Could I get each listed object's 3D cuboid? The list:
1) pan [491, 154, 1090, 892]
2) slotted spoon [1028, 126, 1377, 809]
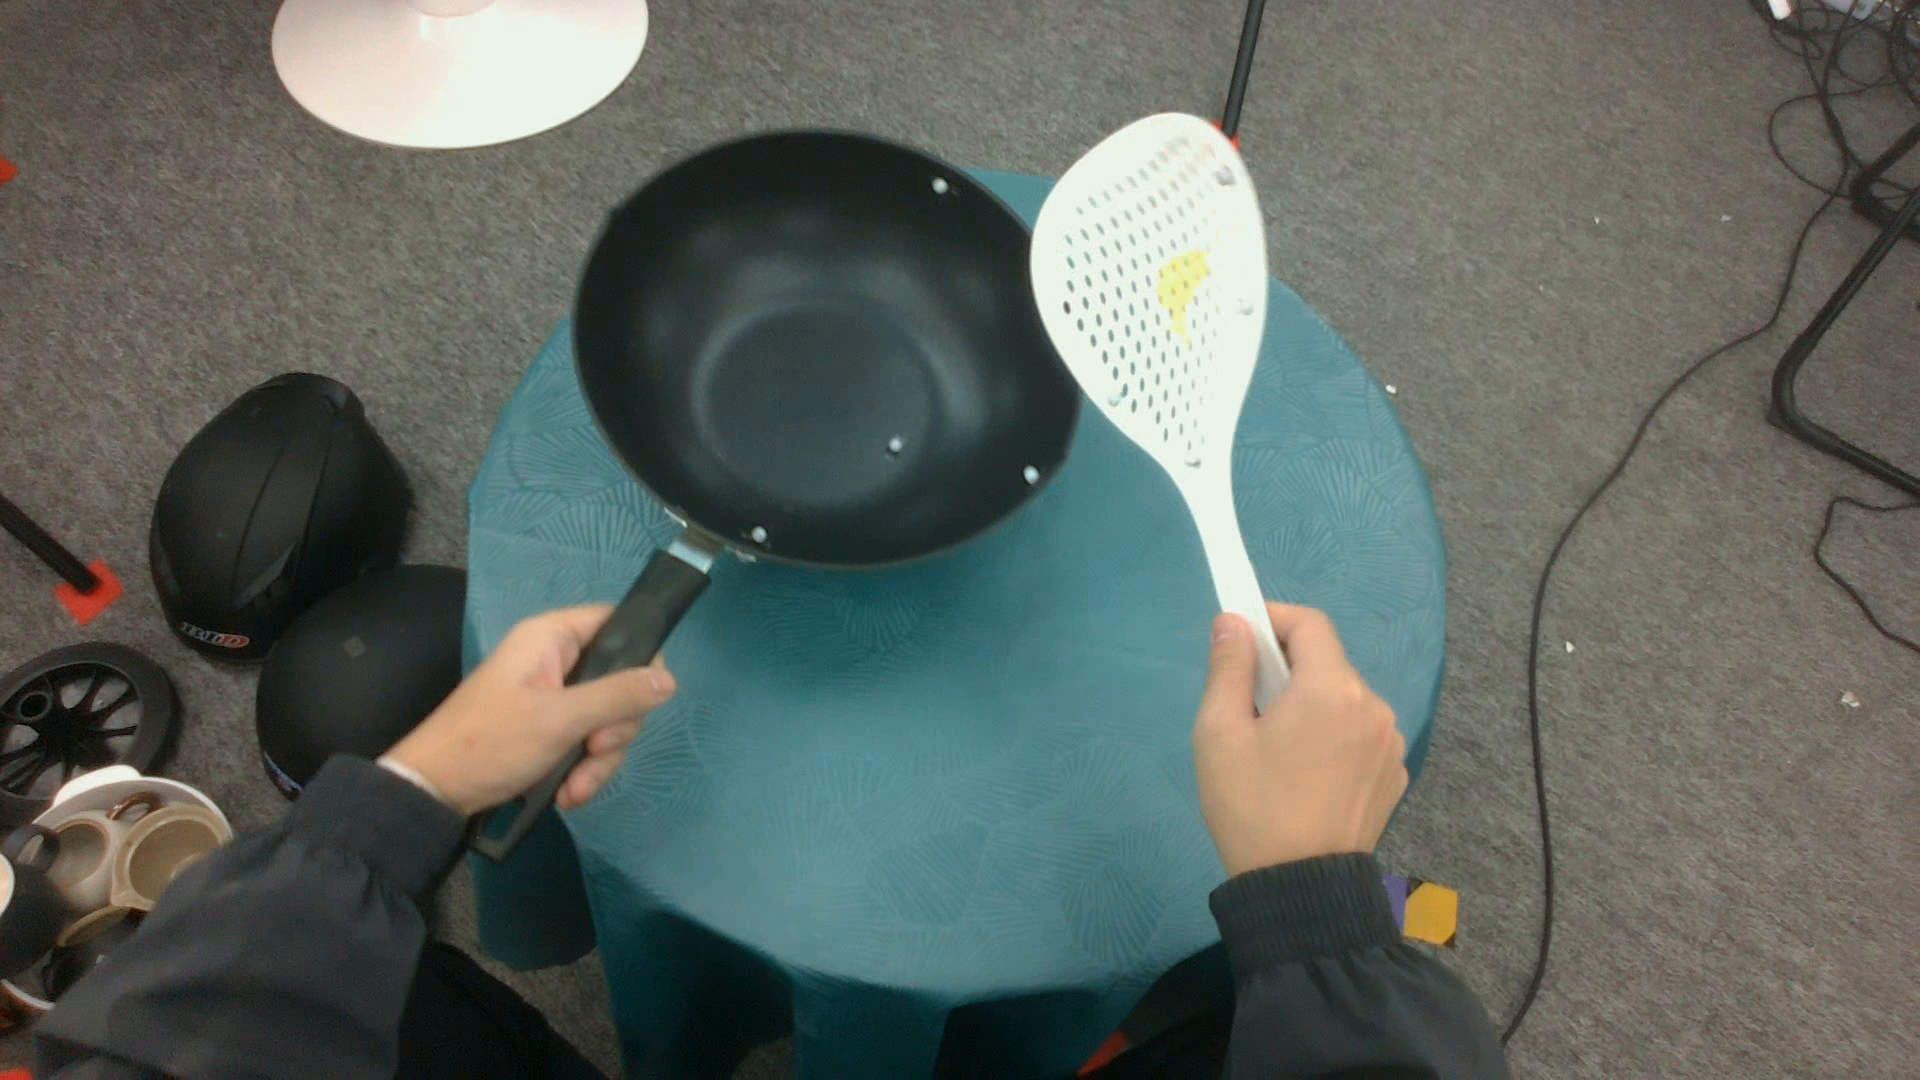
[{"bbox_3d":[-0.109,-0.012,0.764,0.288,0.086,0.465,26,65,2],"label":"pan"},{"bbox_3d":[0.129,-0.036,0.678,0.050,0.136,0.348,5,66,-49],"label":"slotted spoon"}]
